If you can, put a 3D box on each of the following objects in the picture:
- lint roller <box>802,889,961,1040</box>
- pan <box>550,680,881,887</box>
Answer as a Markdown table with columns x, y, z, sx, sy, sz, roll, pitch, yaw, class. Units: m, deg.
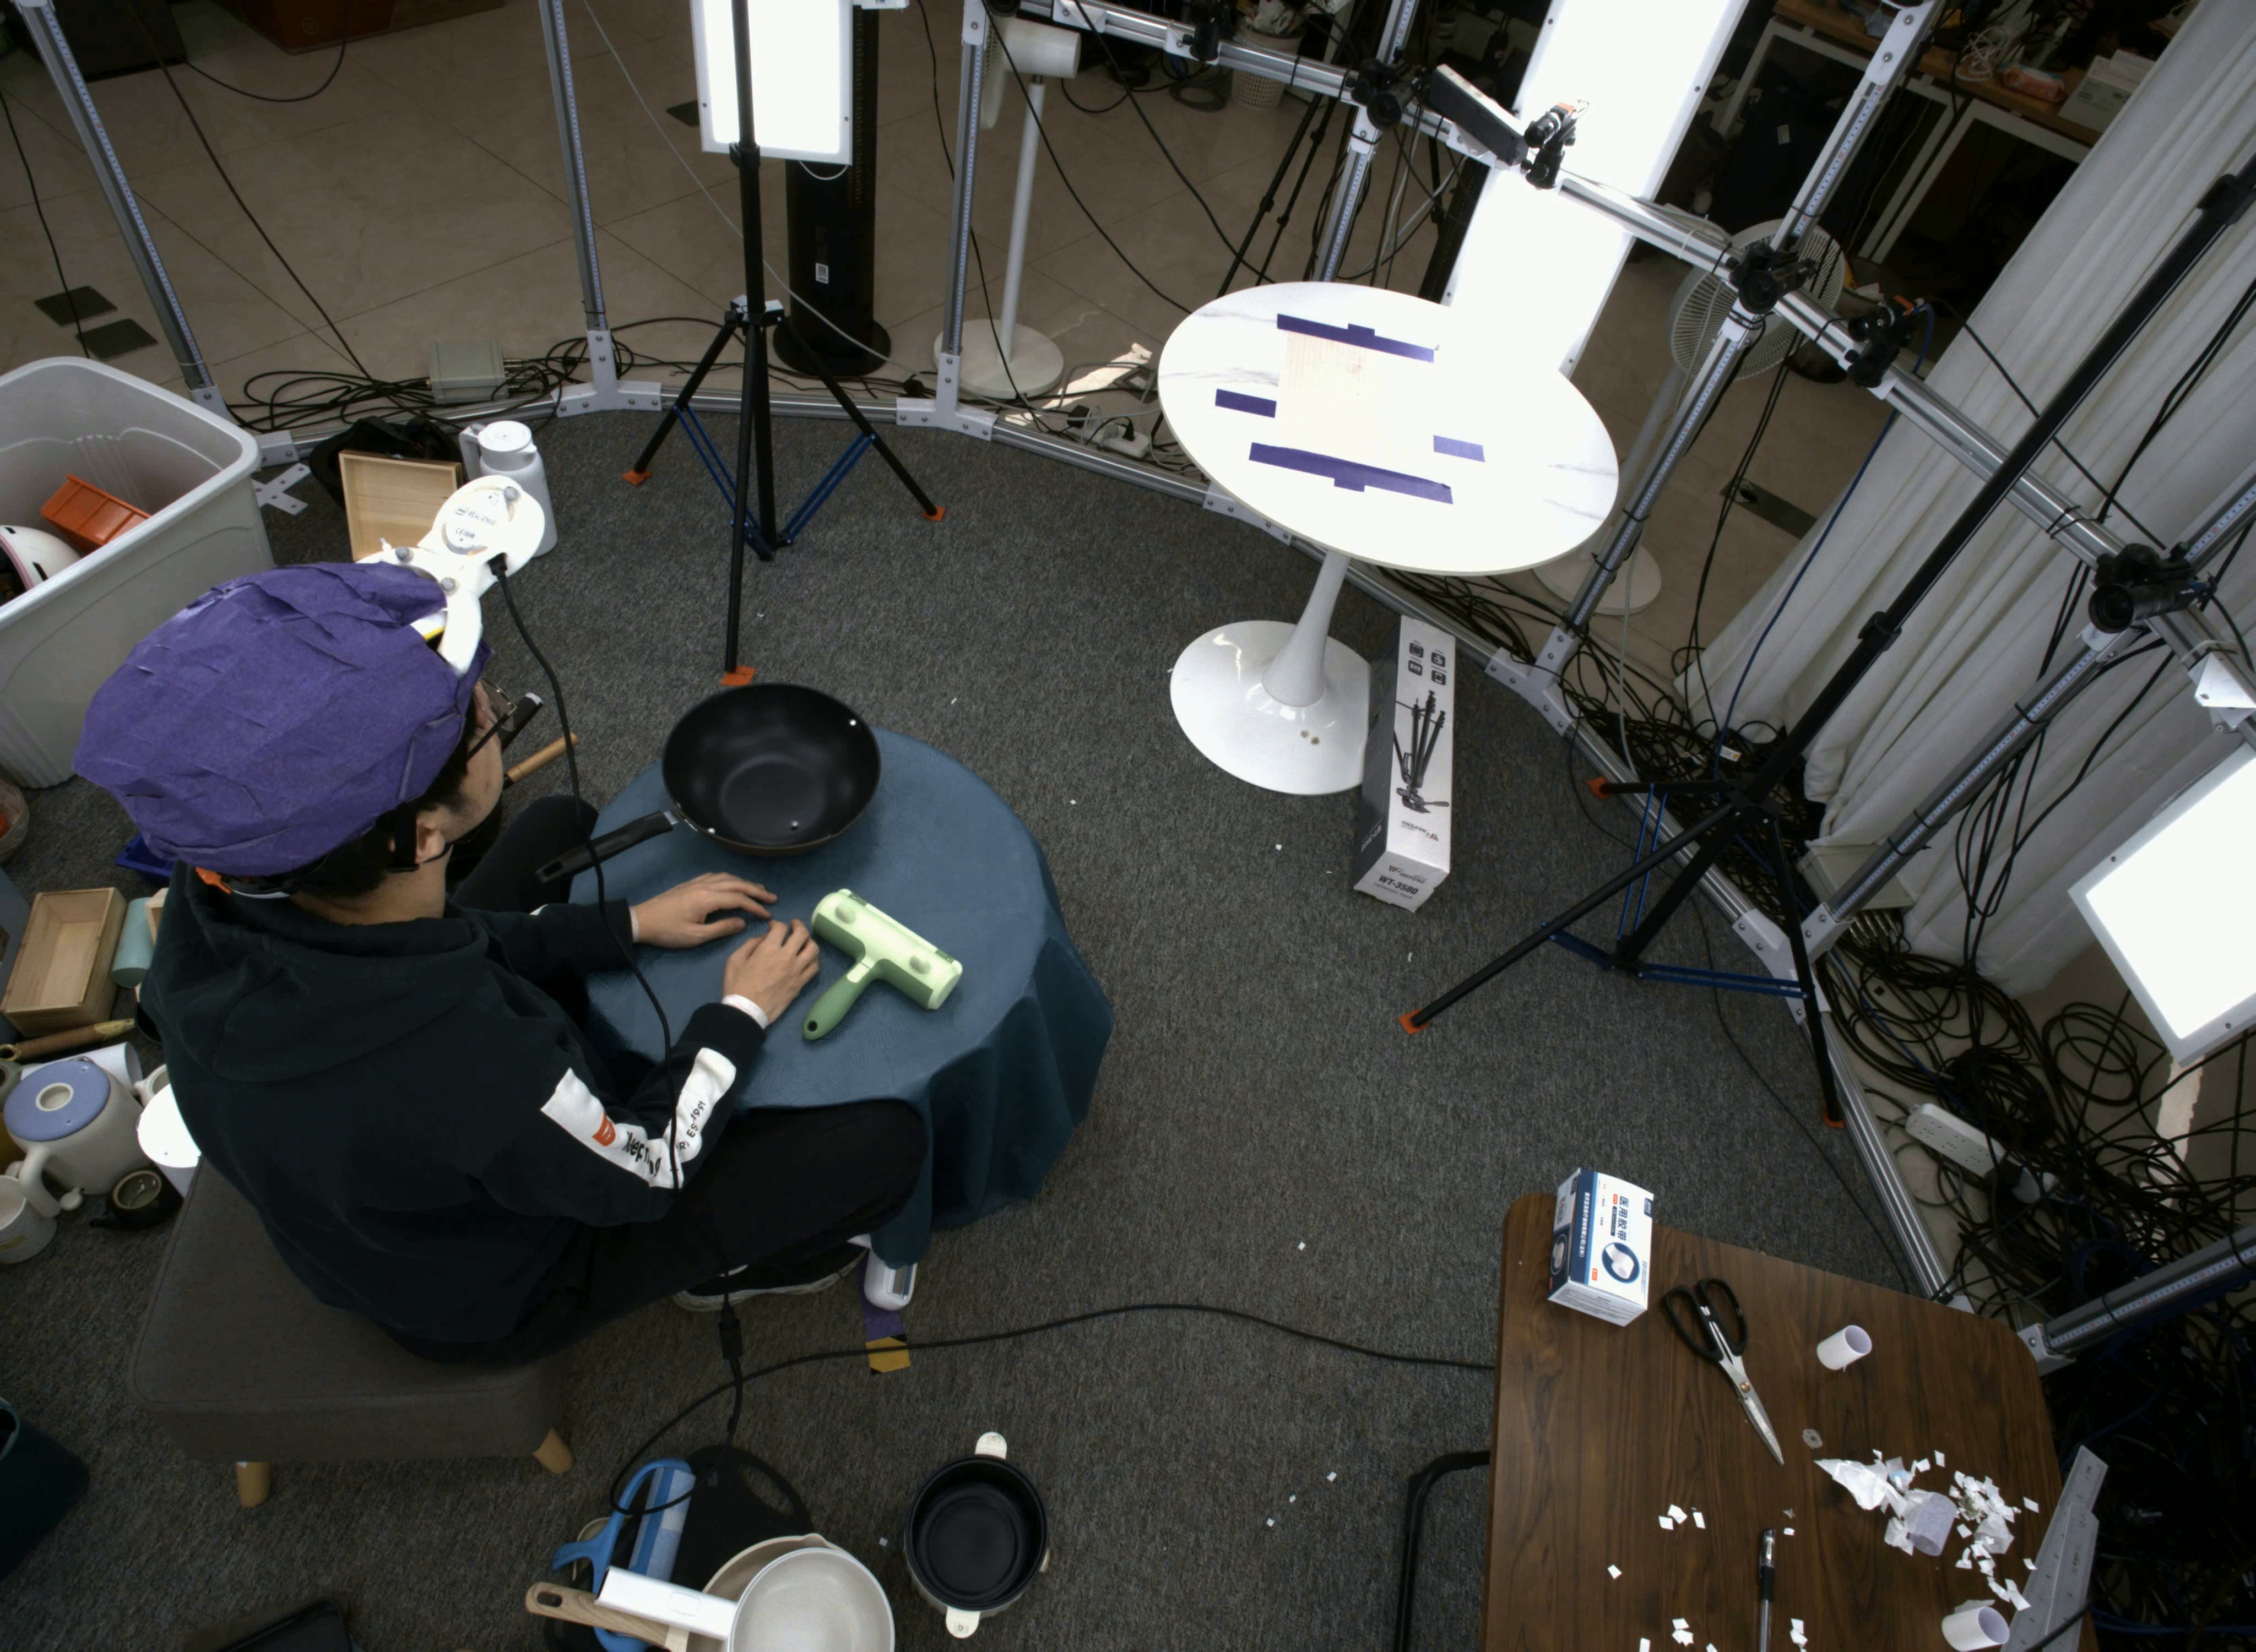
| x | y | z | sx | sy | sz | roll | pitch | yaw | class |
| --- | --- | --- | --- | --- | --- | --- | --- | --- | --- |
| -0.330 | 0.177 | 1.576 | 0.195 | 0.084 | 0.183 | 32 | 48 | 10 | lint roller |
| -0.533 | -0.020 | 1.662 | 0.464 | 0.088 | 0.281 | -33 | 67 | -31 | pan |
